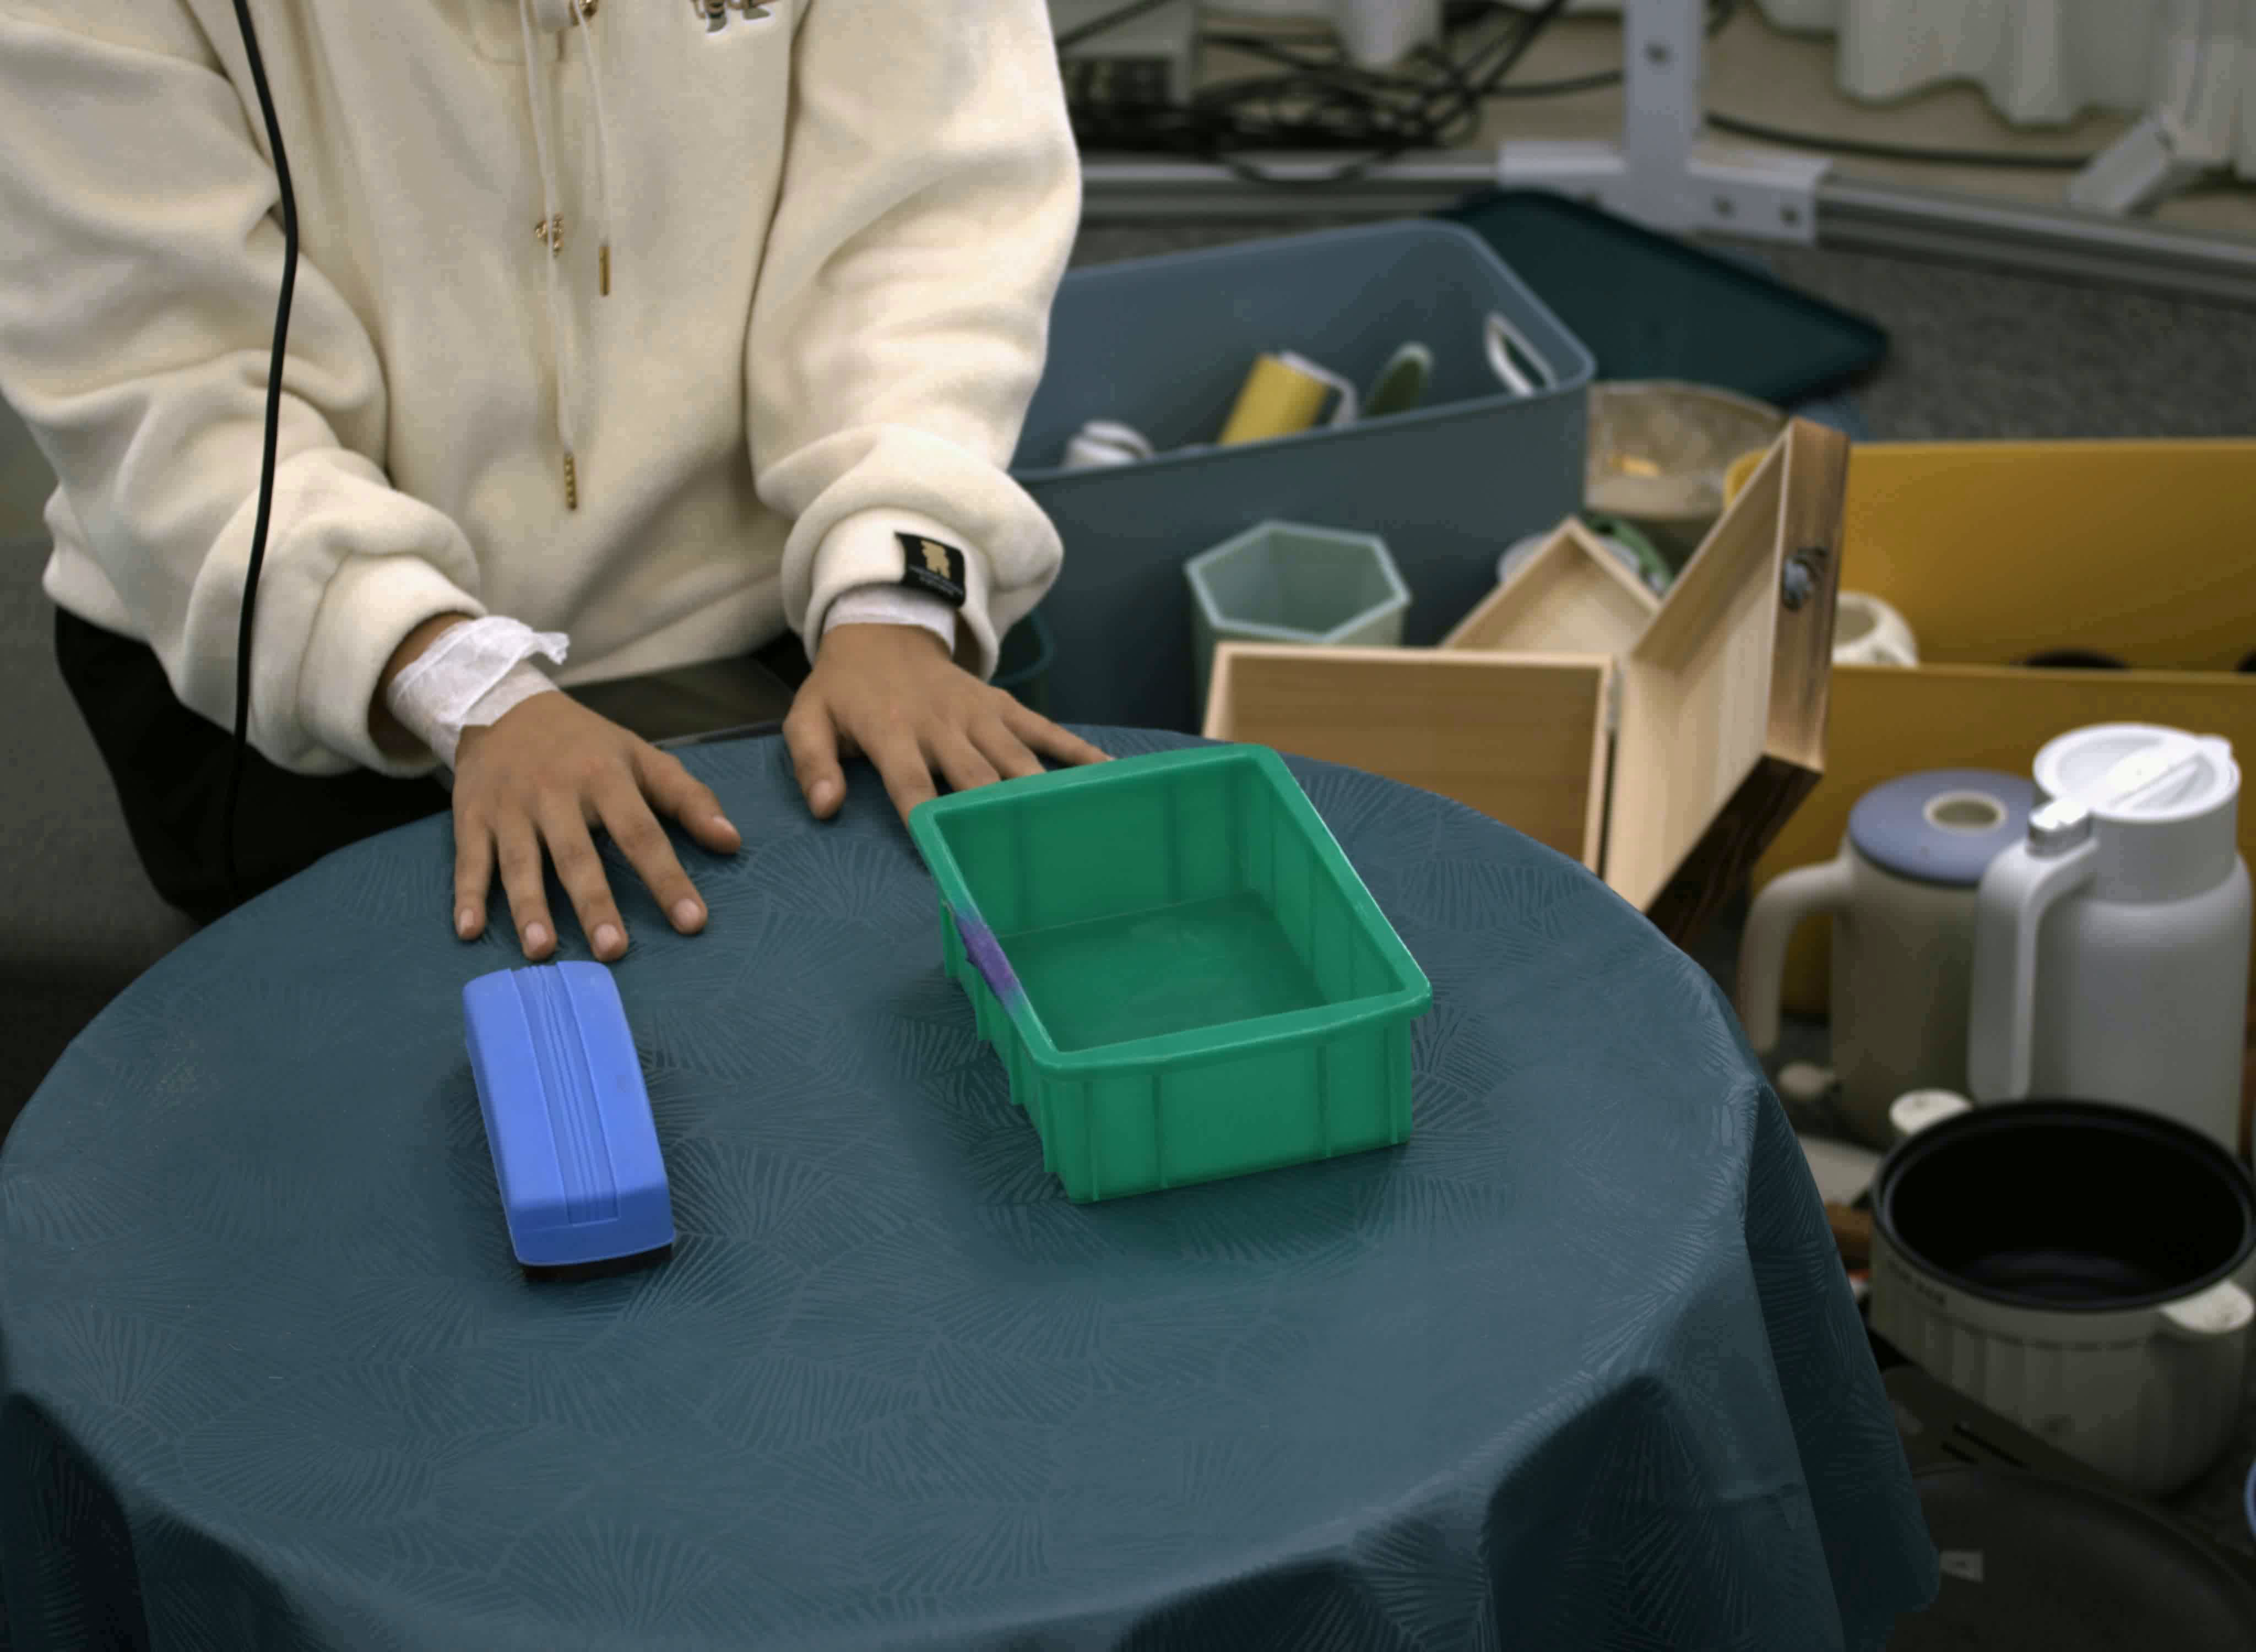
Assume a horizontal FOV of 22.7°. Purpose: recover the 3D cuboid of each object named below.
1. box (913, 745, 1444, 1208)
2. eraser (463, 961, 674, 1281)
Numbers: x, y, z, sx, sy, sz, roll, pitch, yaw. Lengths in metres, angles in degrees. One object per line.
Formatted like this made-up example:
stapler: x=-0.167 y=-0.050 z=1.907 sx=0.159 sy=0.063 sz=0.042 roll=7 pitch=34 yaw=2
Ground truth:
box: x=0.016 y=0.052 z=1.929 sx=0.139 sy=0.064 sz=0.212 roll=-12 pitch=29 yaw=-13
eraser: x=-0.190 y=0.093 z=1.886 sx=0.054 sy=0.047 sz=0.164 roll=-8 pitch=28 yaw=-10
